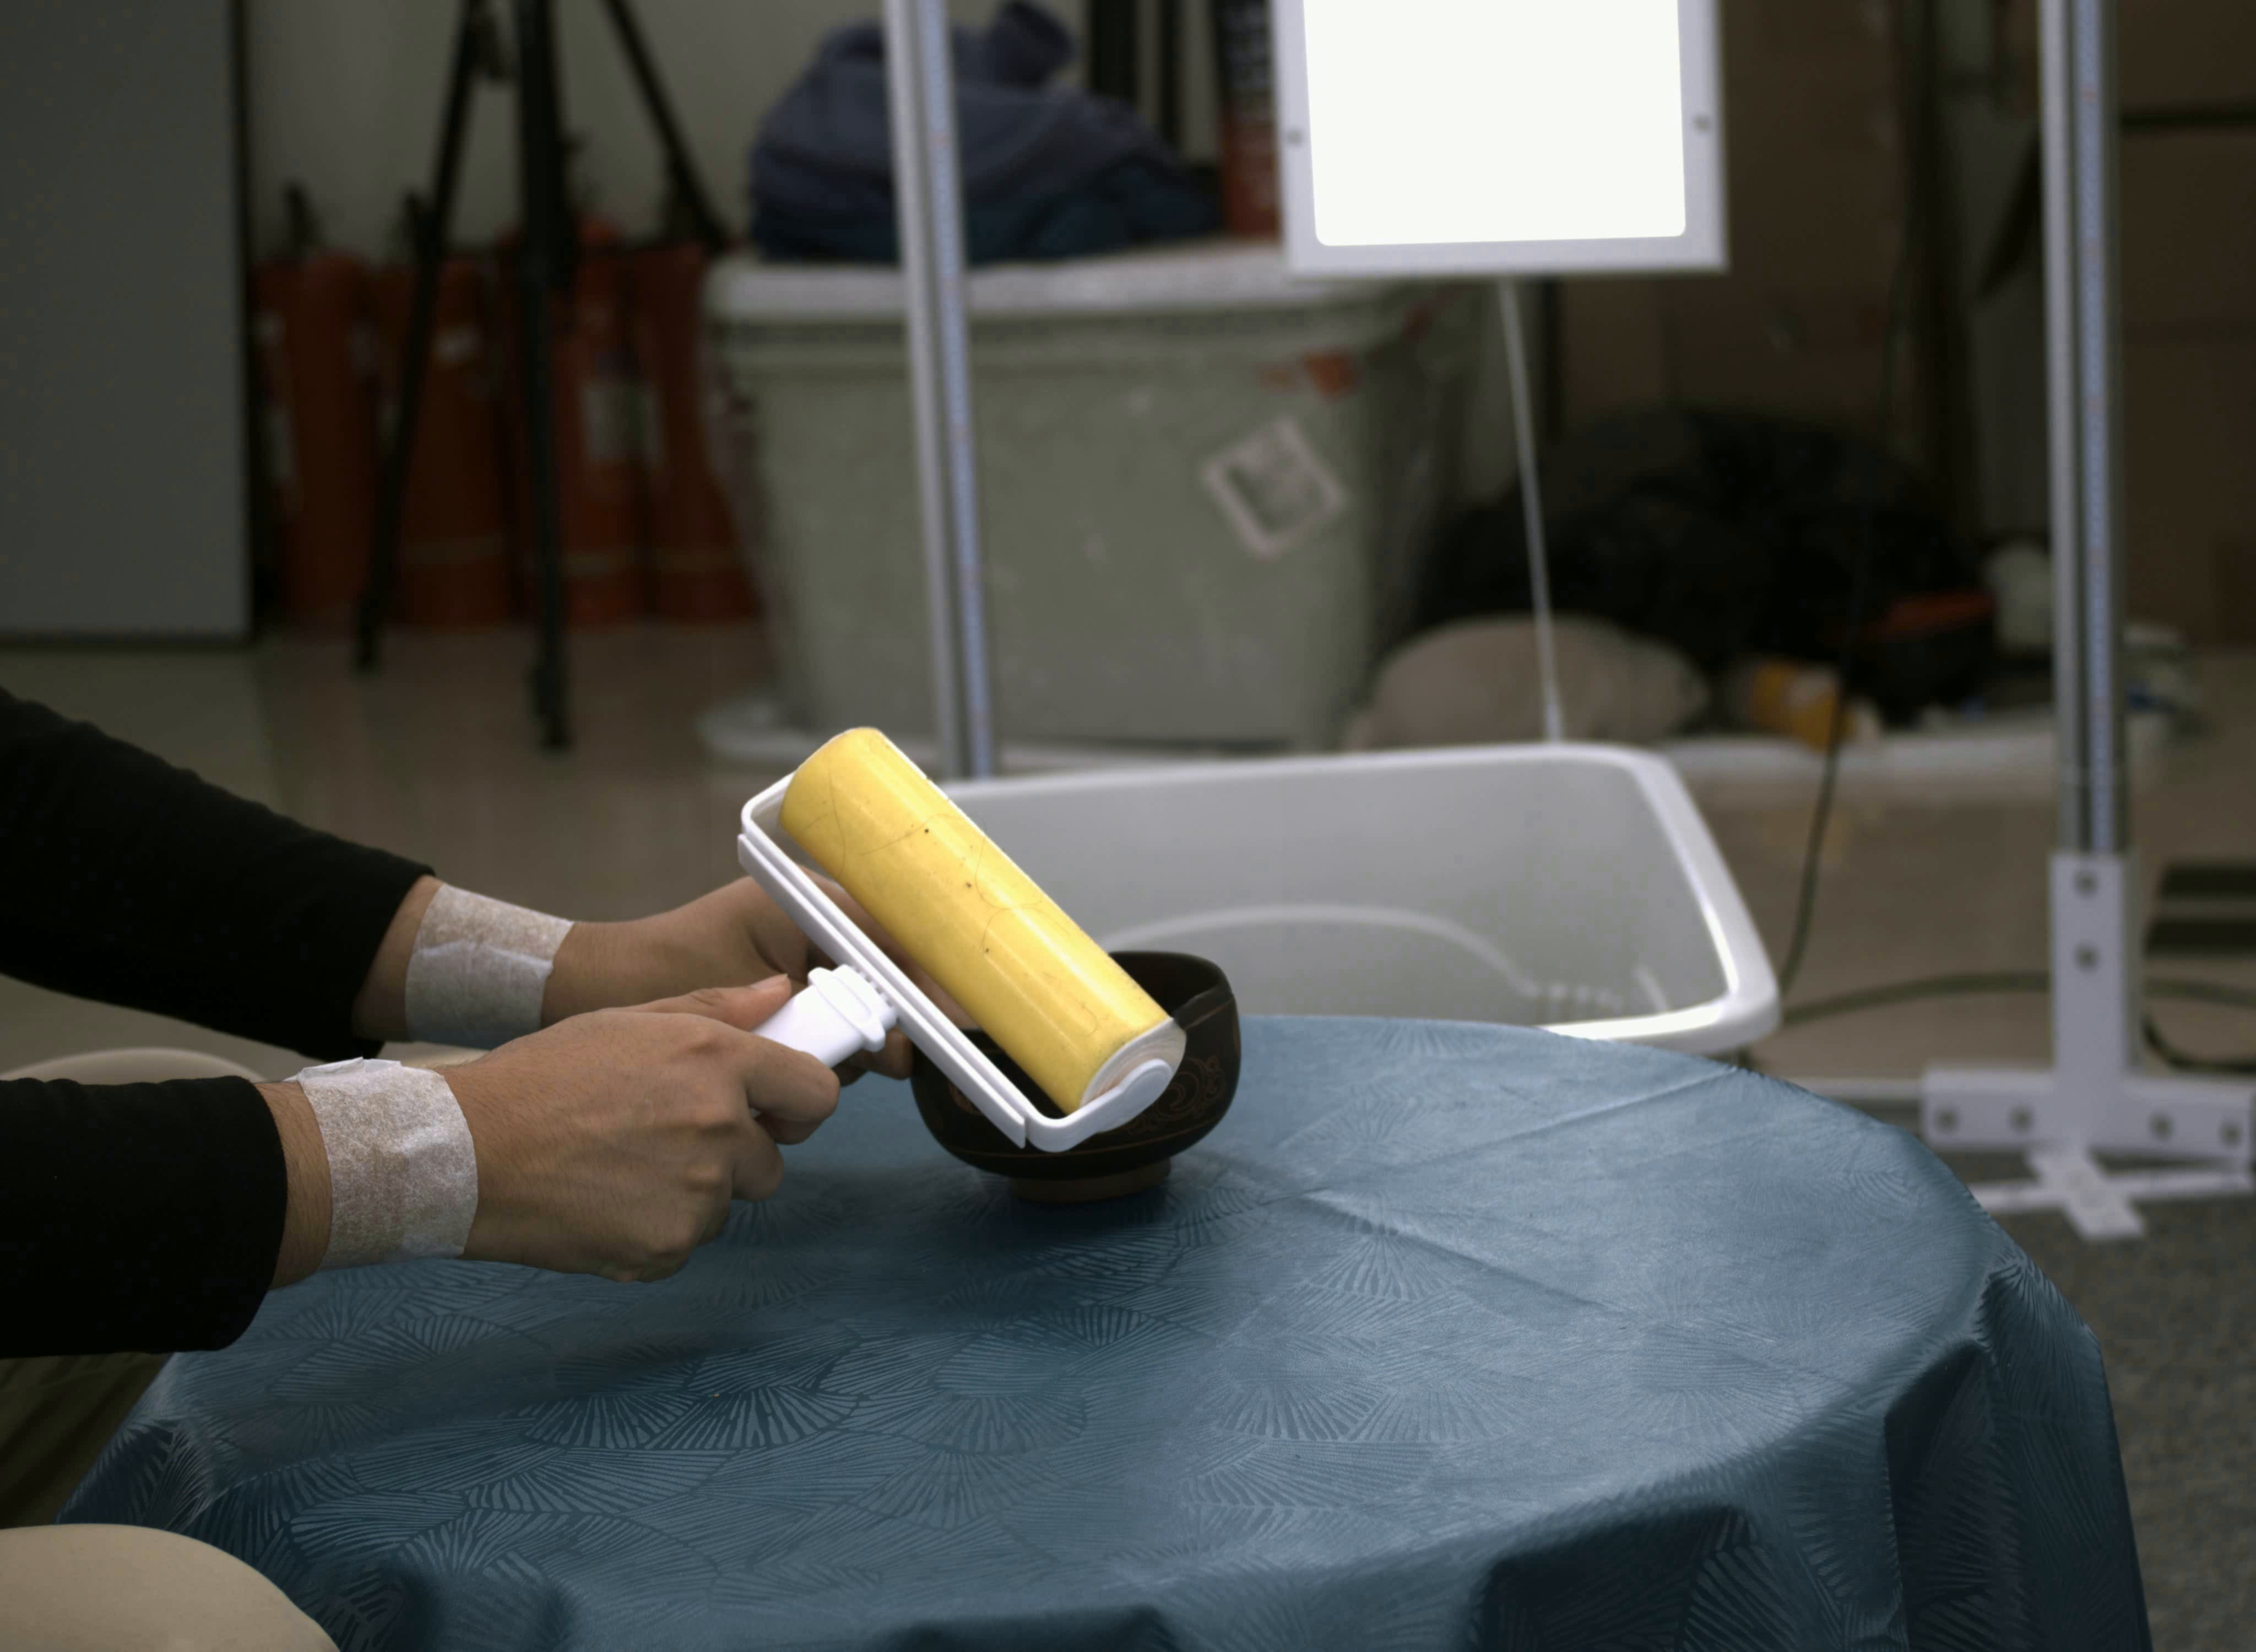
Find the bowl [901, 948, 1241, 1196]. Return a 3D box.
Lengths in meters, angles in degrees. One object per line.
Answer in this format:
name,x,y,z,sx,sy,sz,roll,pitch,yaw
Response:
bowl,-0.018,0.087,1.902,0.118,0.070,0.118,-7,10,0

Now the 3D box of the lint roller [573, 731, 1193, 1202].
lint roller,-0.101,0.063,1.797,0.187,0.052,0.176,-27,56,-33
